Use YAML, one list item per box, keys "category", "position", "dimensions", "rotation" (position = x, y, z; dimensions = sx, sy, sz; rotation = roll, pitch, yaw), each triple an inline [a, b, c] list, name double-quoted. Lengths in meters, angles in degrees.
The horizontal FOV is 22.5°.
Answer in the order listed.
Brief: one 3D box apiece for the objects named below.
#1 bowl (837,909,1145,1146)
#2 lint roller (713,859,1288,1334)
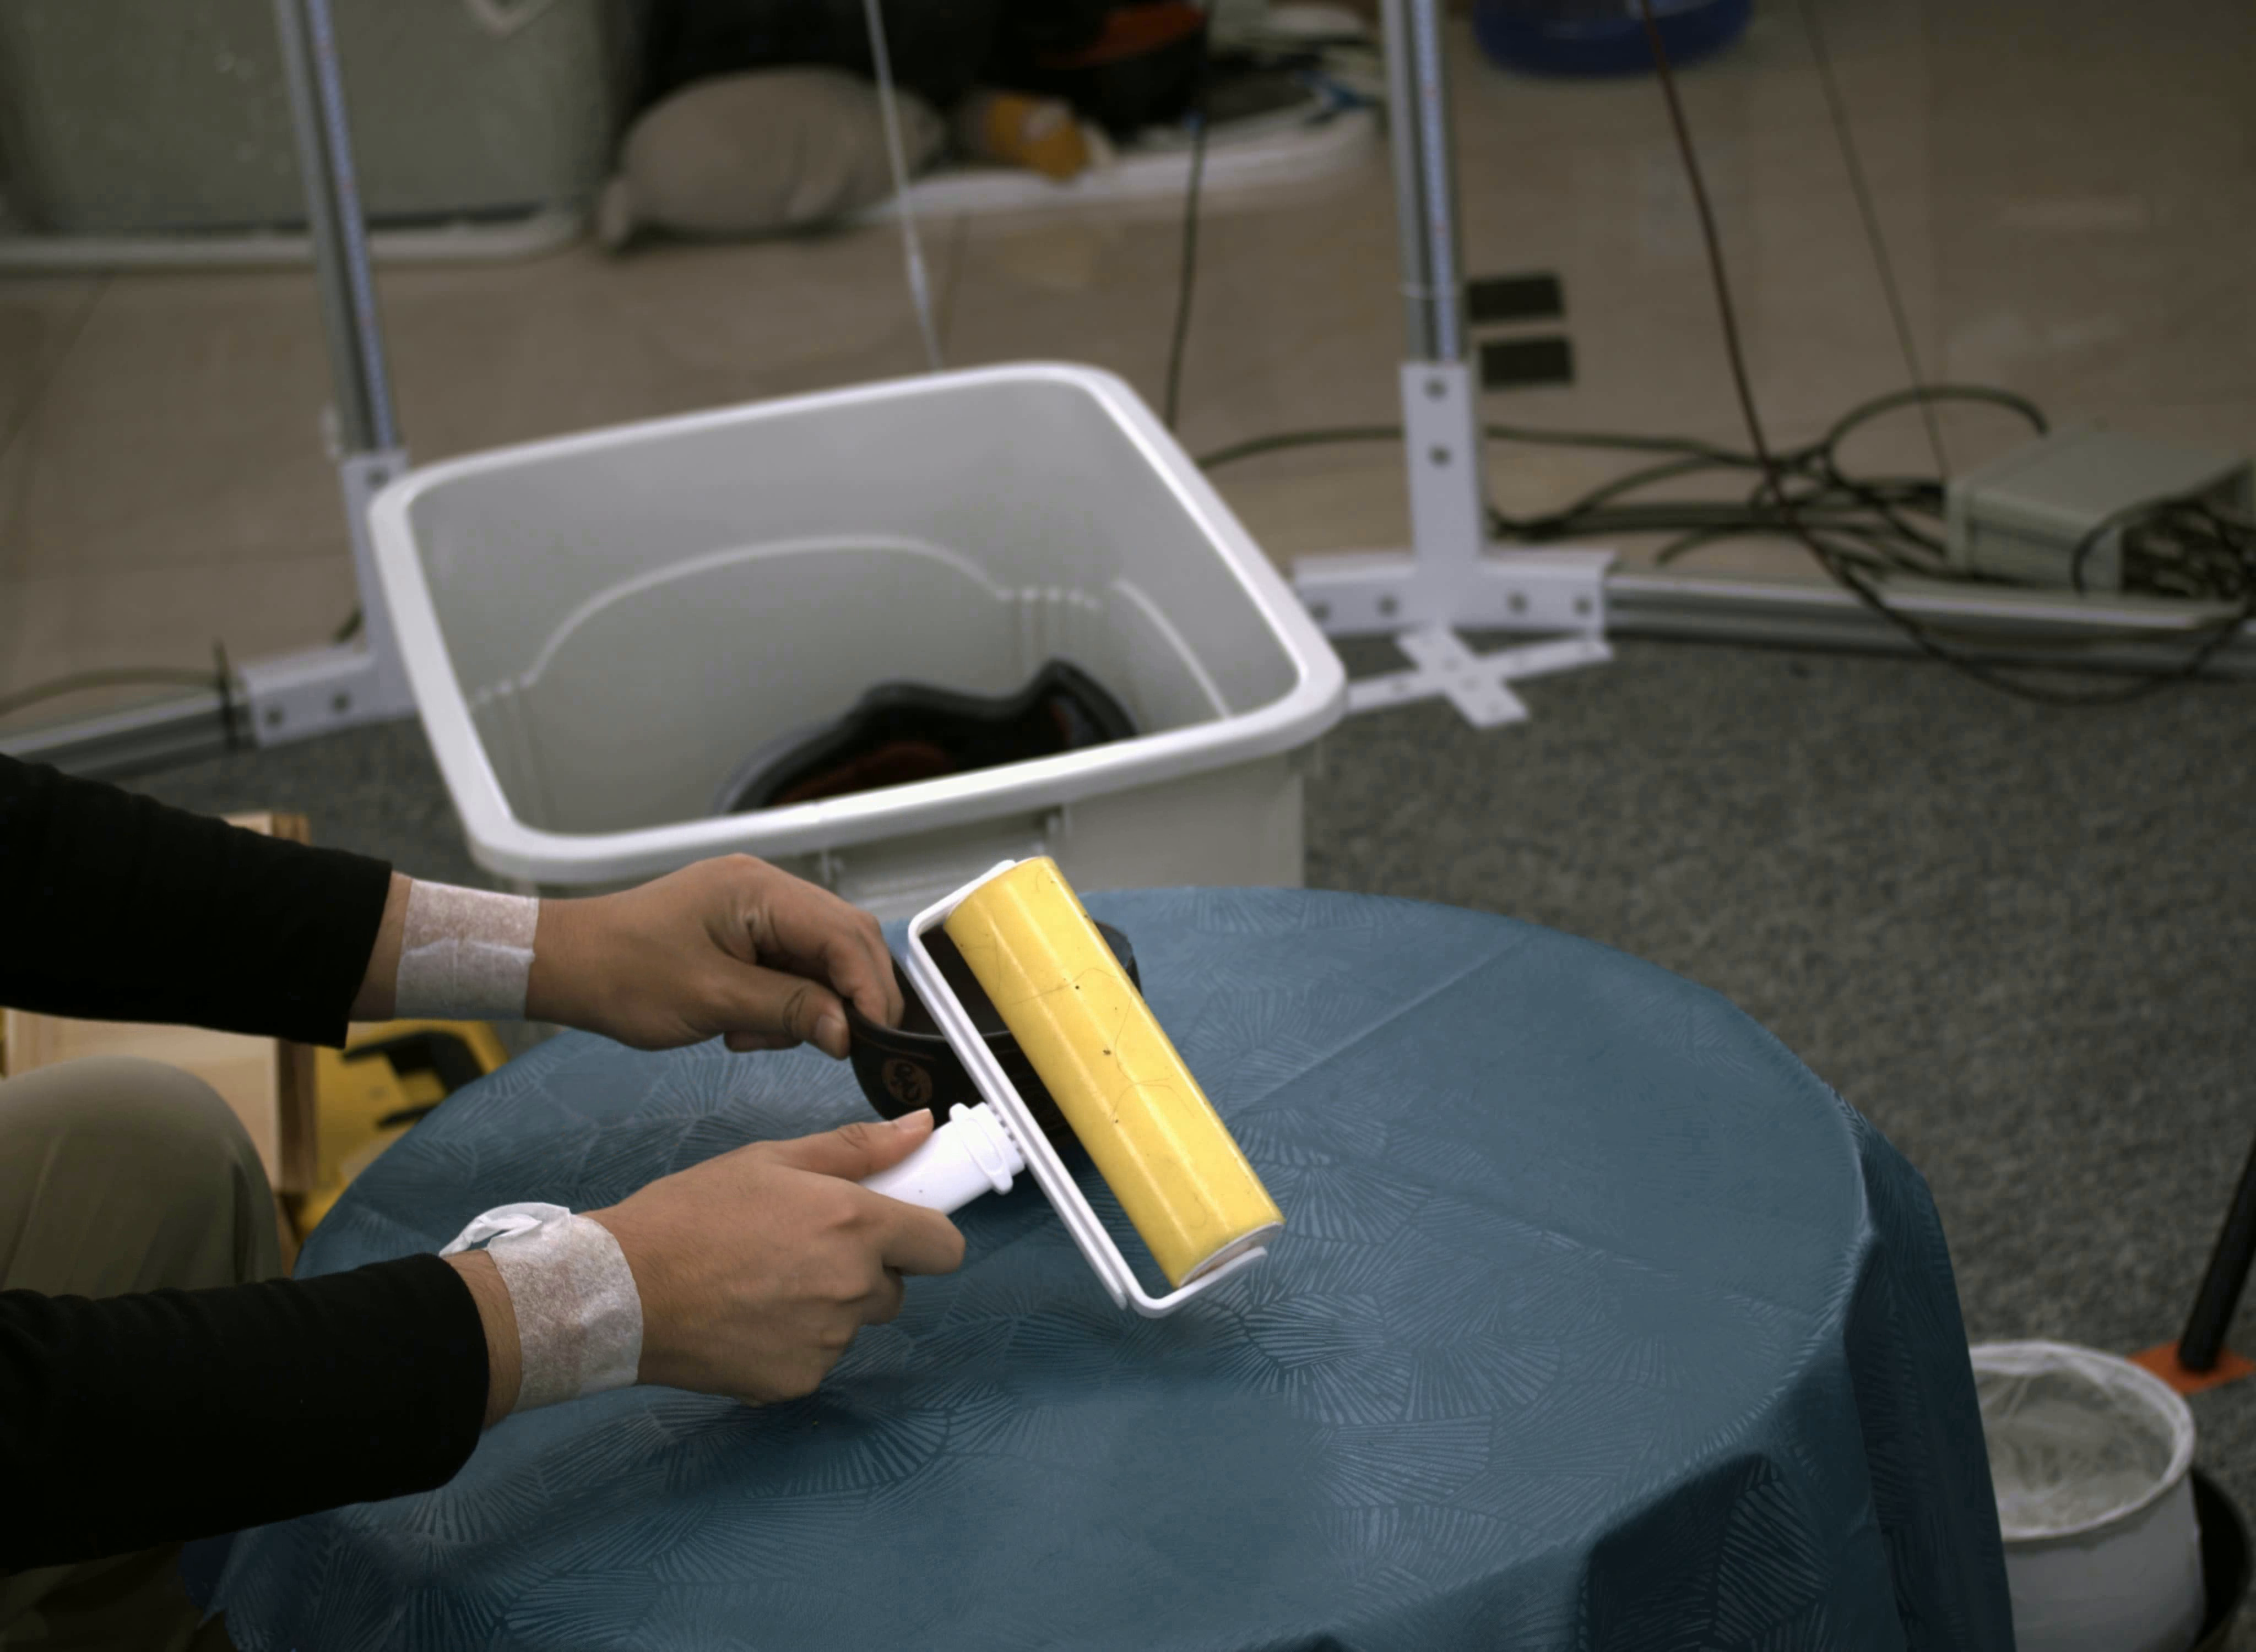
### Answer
- category: "bowl"
  position: [-0.051, 0.085, 2.184]
  dimensions: [0.118, 0.071, 0.116]
  rotation: [-6, 23, 3]
- category: "lint roller"
  position: [-0.063, 0.122, 2.024]
  dimensions: [0.190, 0.052, 0.173]
  rotation: [-29, 77, -24]
